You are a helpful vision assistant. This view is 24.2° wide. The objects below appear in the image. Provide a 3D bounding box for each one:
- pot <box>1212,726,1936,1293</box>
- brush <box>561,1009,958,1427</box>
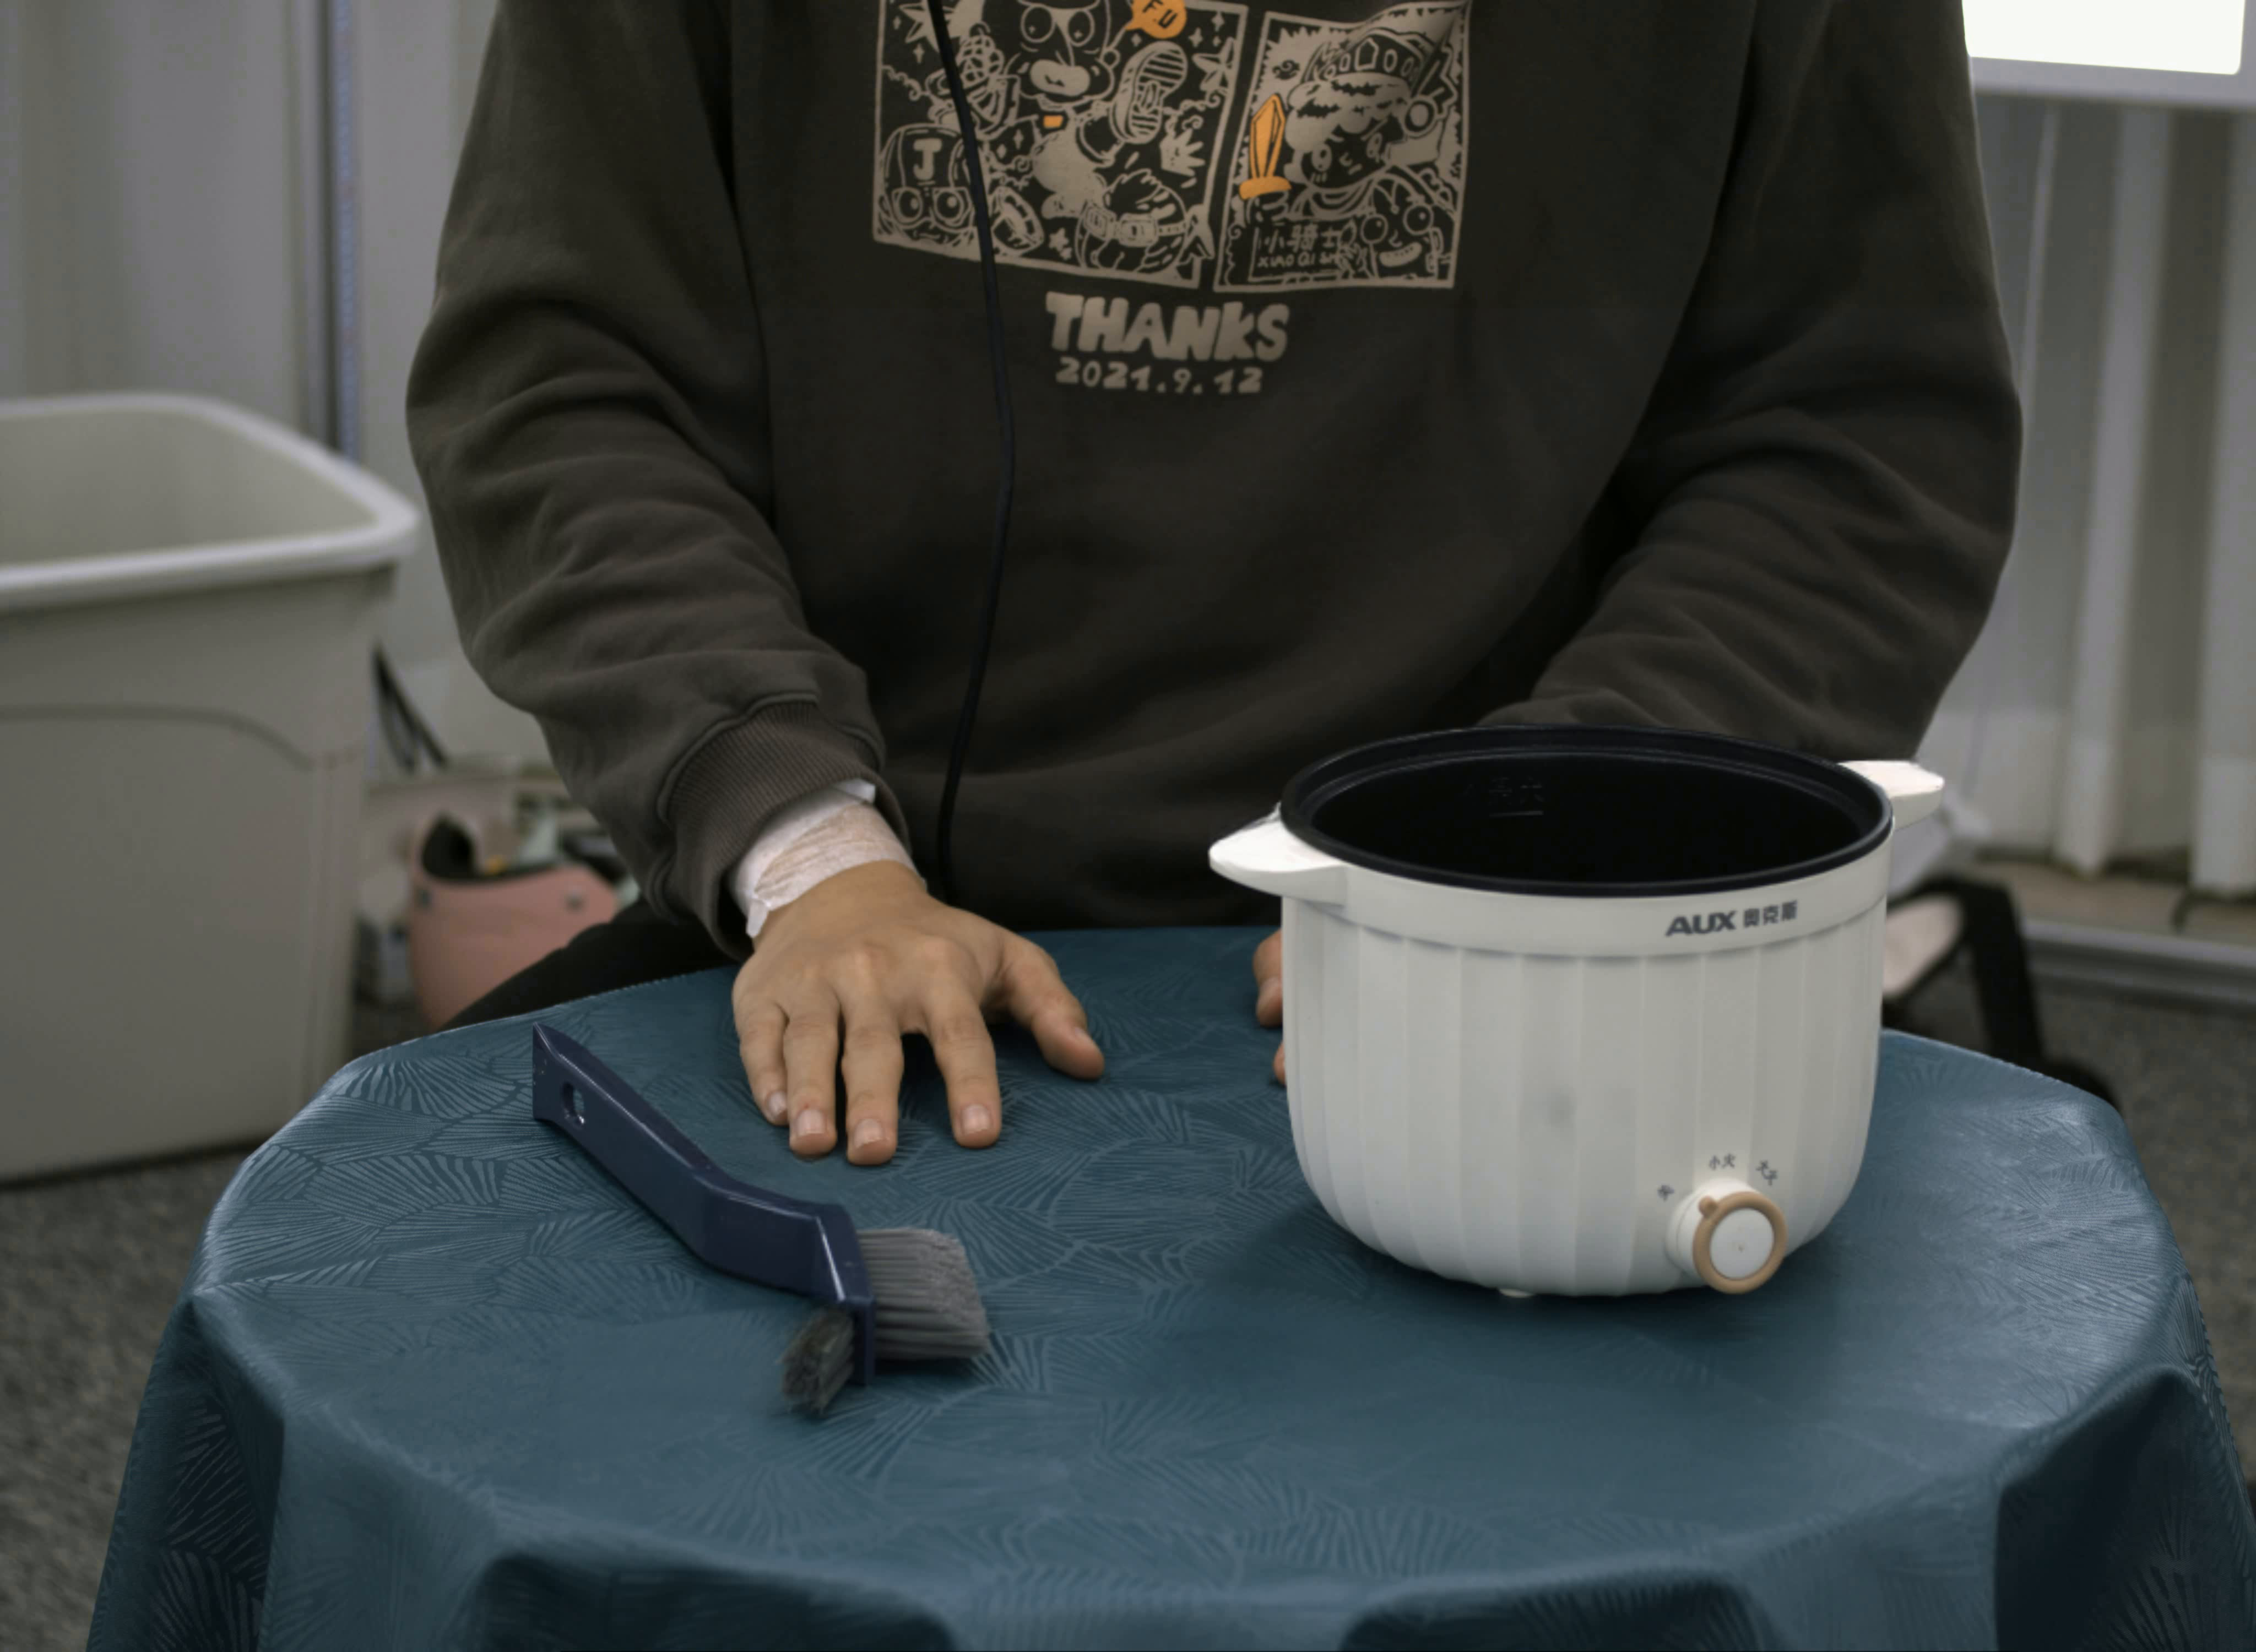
[{"bbox_3d":[0.139,0.057,1.573,0.241,0.144,0.188,-8,14,-23],"label":"pot"},{"bbox_3d":[-0.132,0.112,1.569,0.096,0.034,0.269,-10,20,-32],"label":"brush"}]
